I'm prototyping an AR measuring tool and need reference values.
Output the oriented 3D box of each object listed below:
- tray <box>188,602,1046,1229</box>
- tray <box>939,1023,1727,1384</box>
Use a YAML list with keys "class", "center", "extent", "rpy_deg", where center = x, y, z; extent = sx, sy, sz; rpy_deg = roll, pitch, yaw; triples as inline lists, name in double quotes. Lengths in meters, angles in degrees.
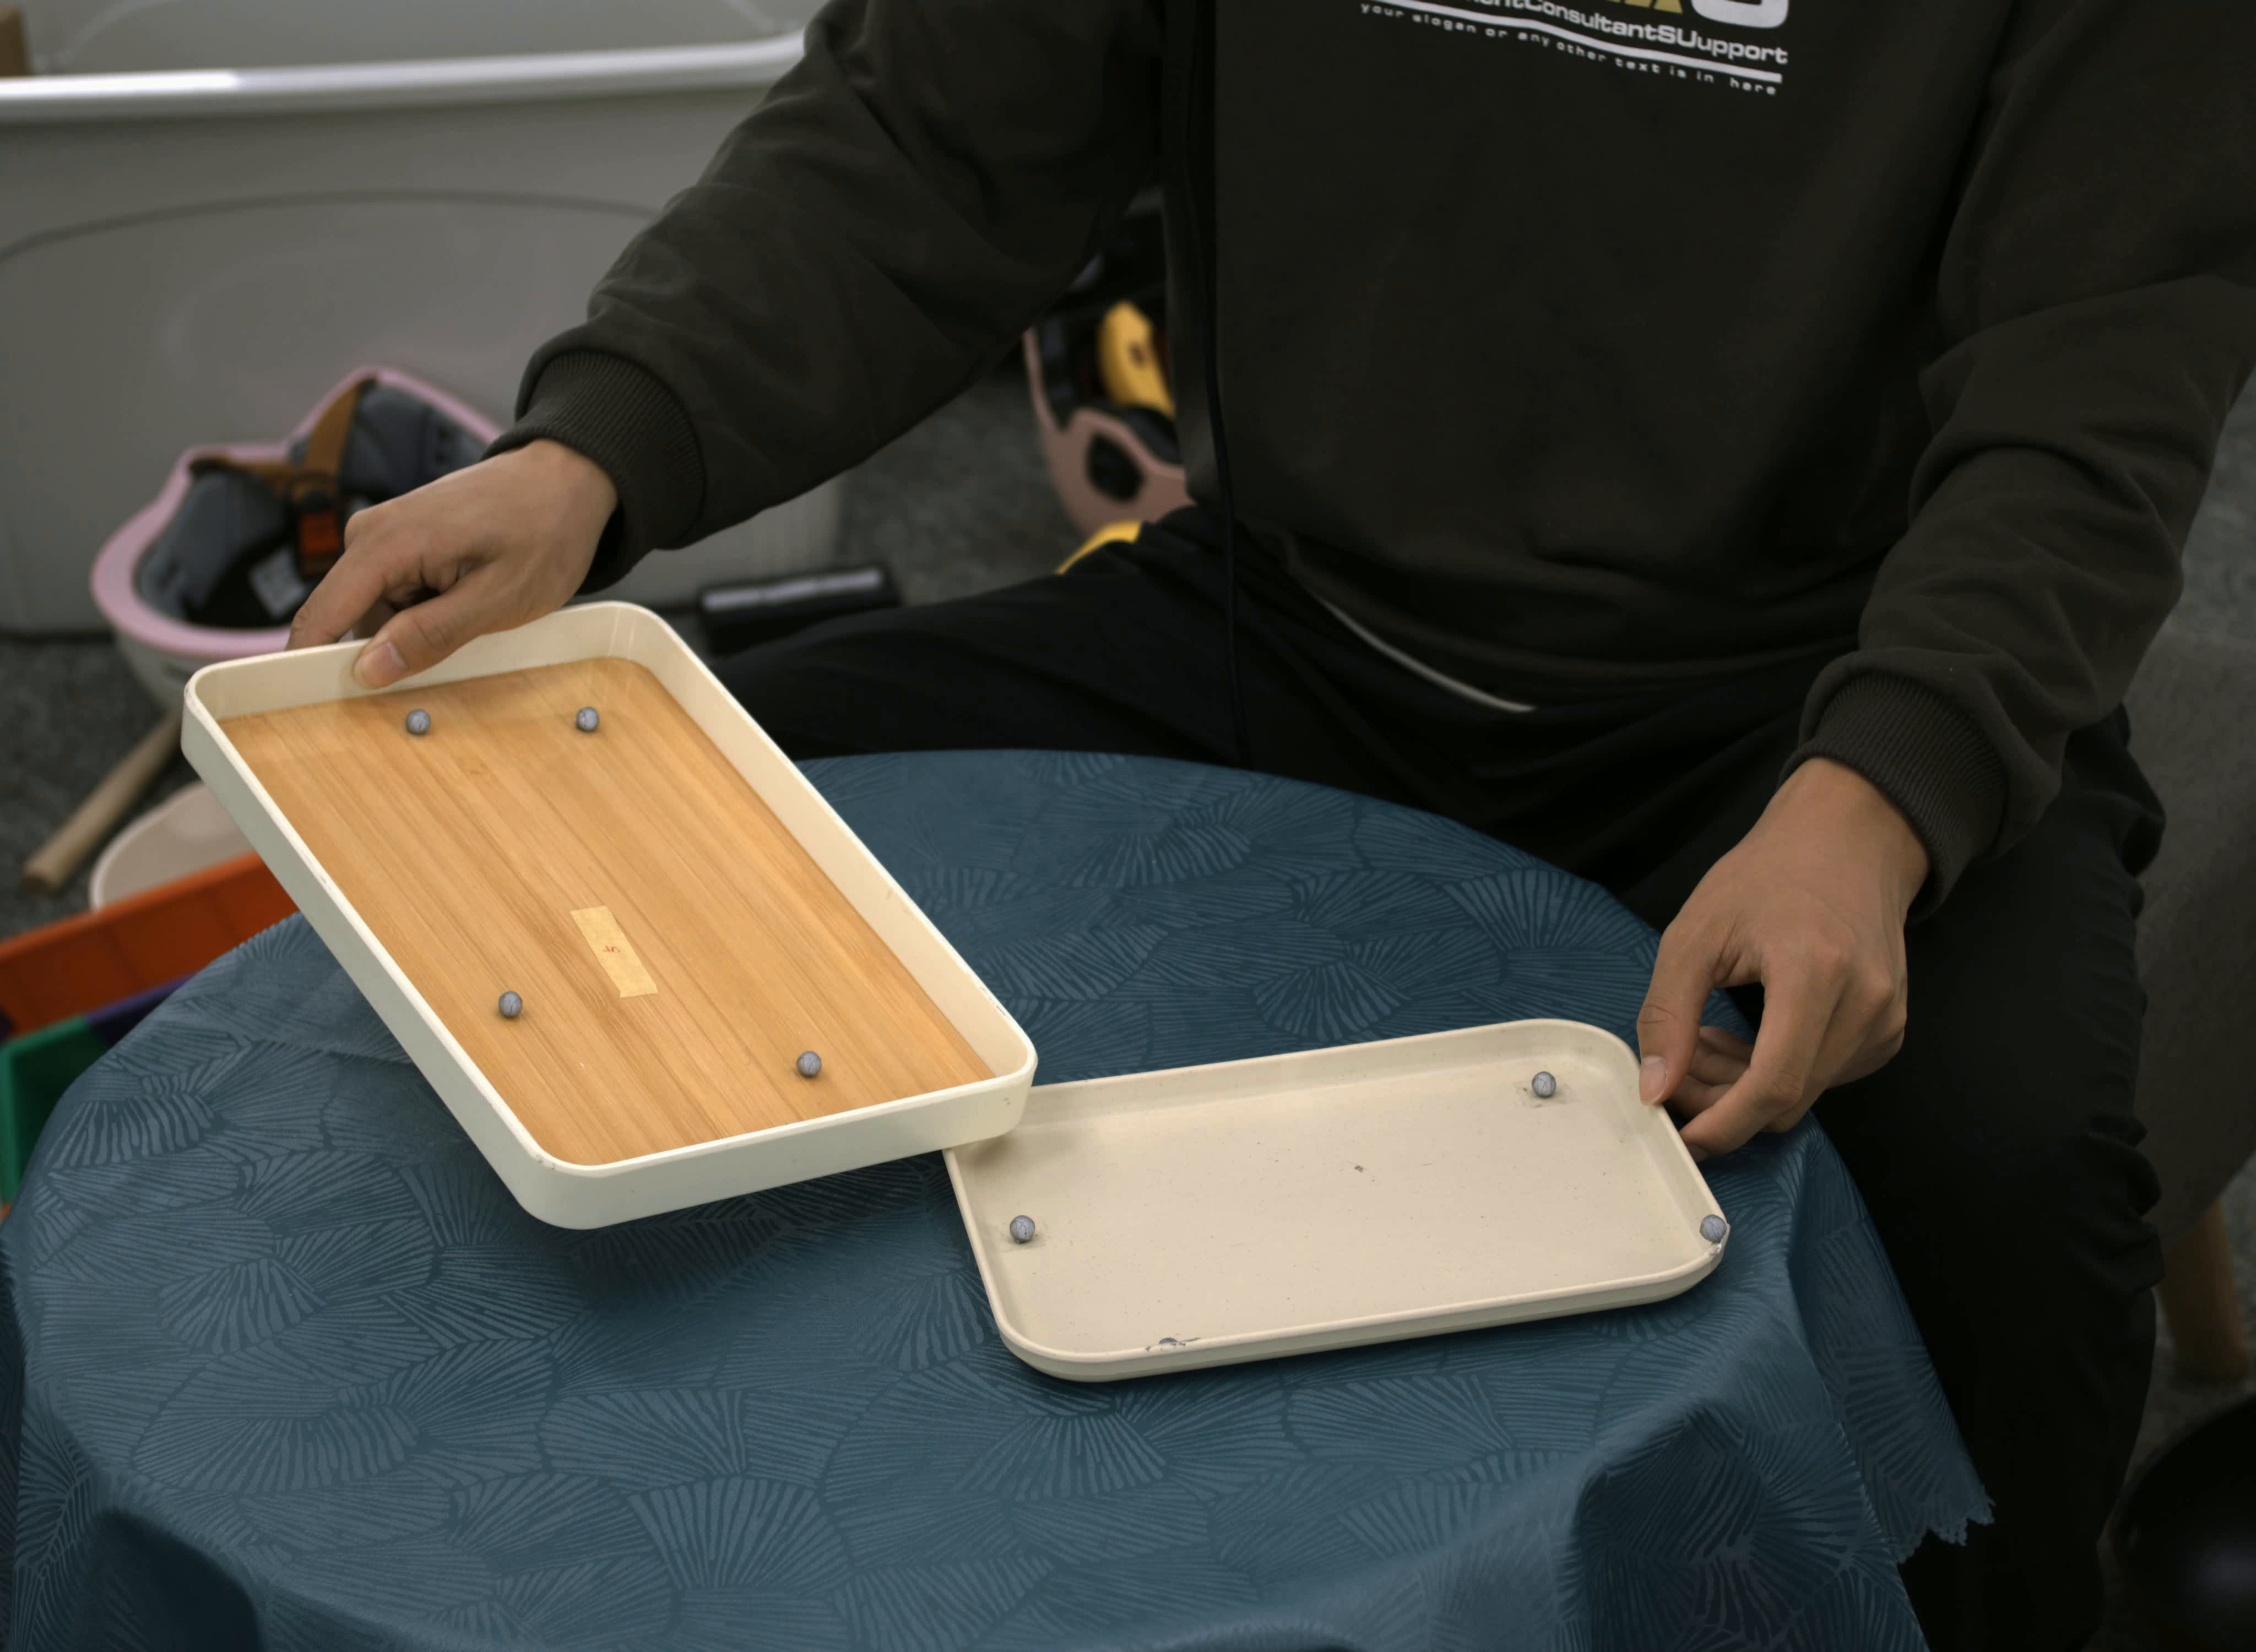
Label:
- class: "tray"
  center: [-0.178, 0.024, 1.920]
  extent: [0.193, 0.027, 0.303]
  rpy_deg: [-10, 40, -32]
- class: "tray"
  center: [0.065, 0.124, 1.838]
  extent: [0.239, 0.017, 0.173]
  rpy_deg: [-7, 27, -9]
